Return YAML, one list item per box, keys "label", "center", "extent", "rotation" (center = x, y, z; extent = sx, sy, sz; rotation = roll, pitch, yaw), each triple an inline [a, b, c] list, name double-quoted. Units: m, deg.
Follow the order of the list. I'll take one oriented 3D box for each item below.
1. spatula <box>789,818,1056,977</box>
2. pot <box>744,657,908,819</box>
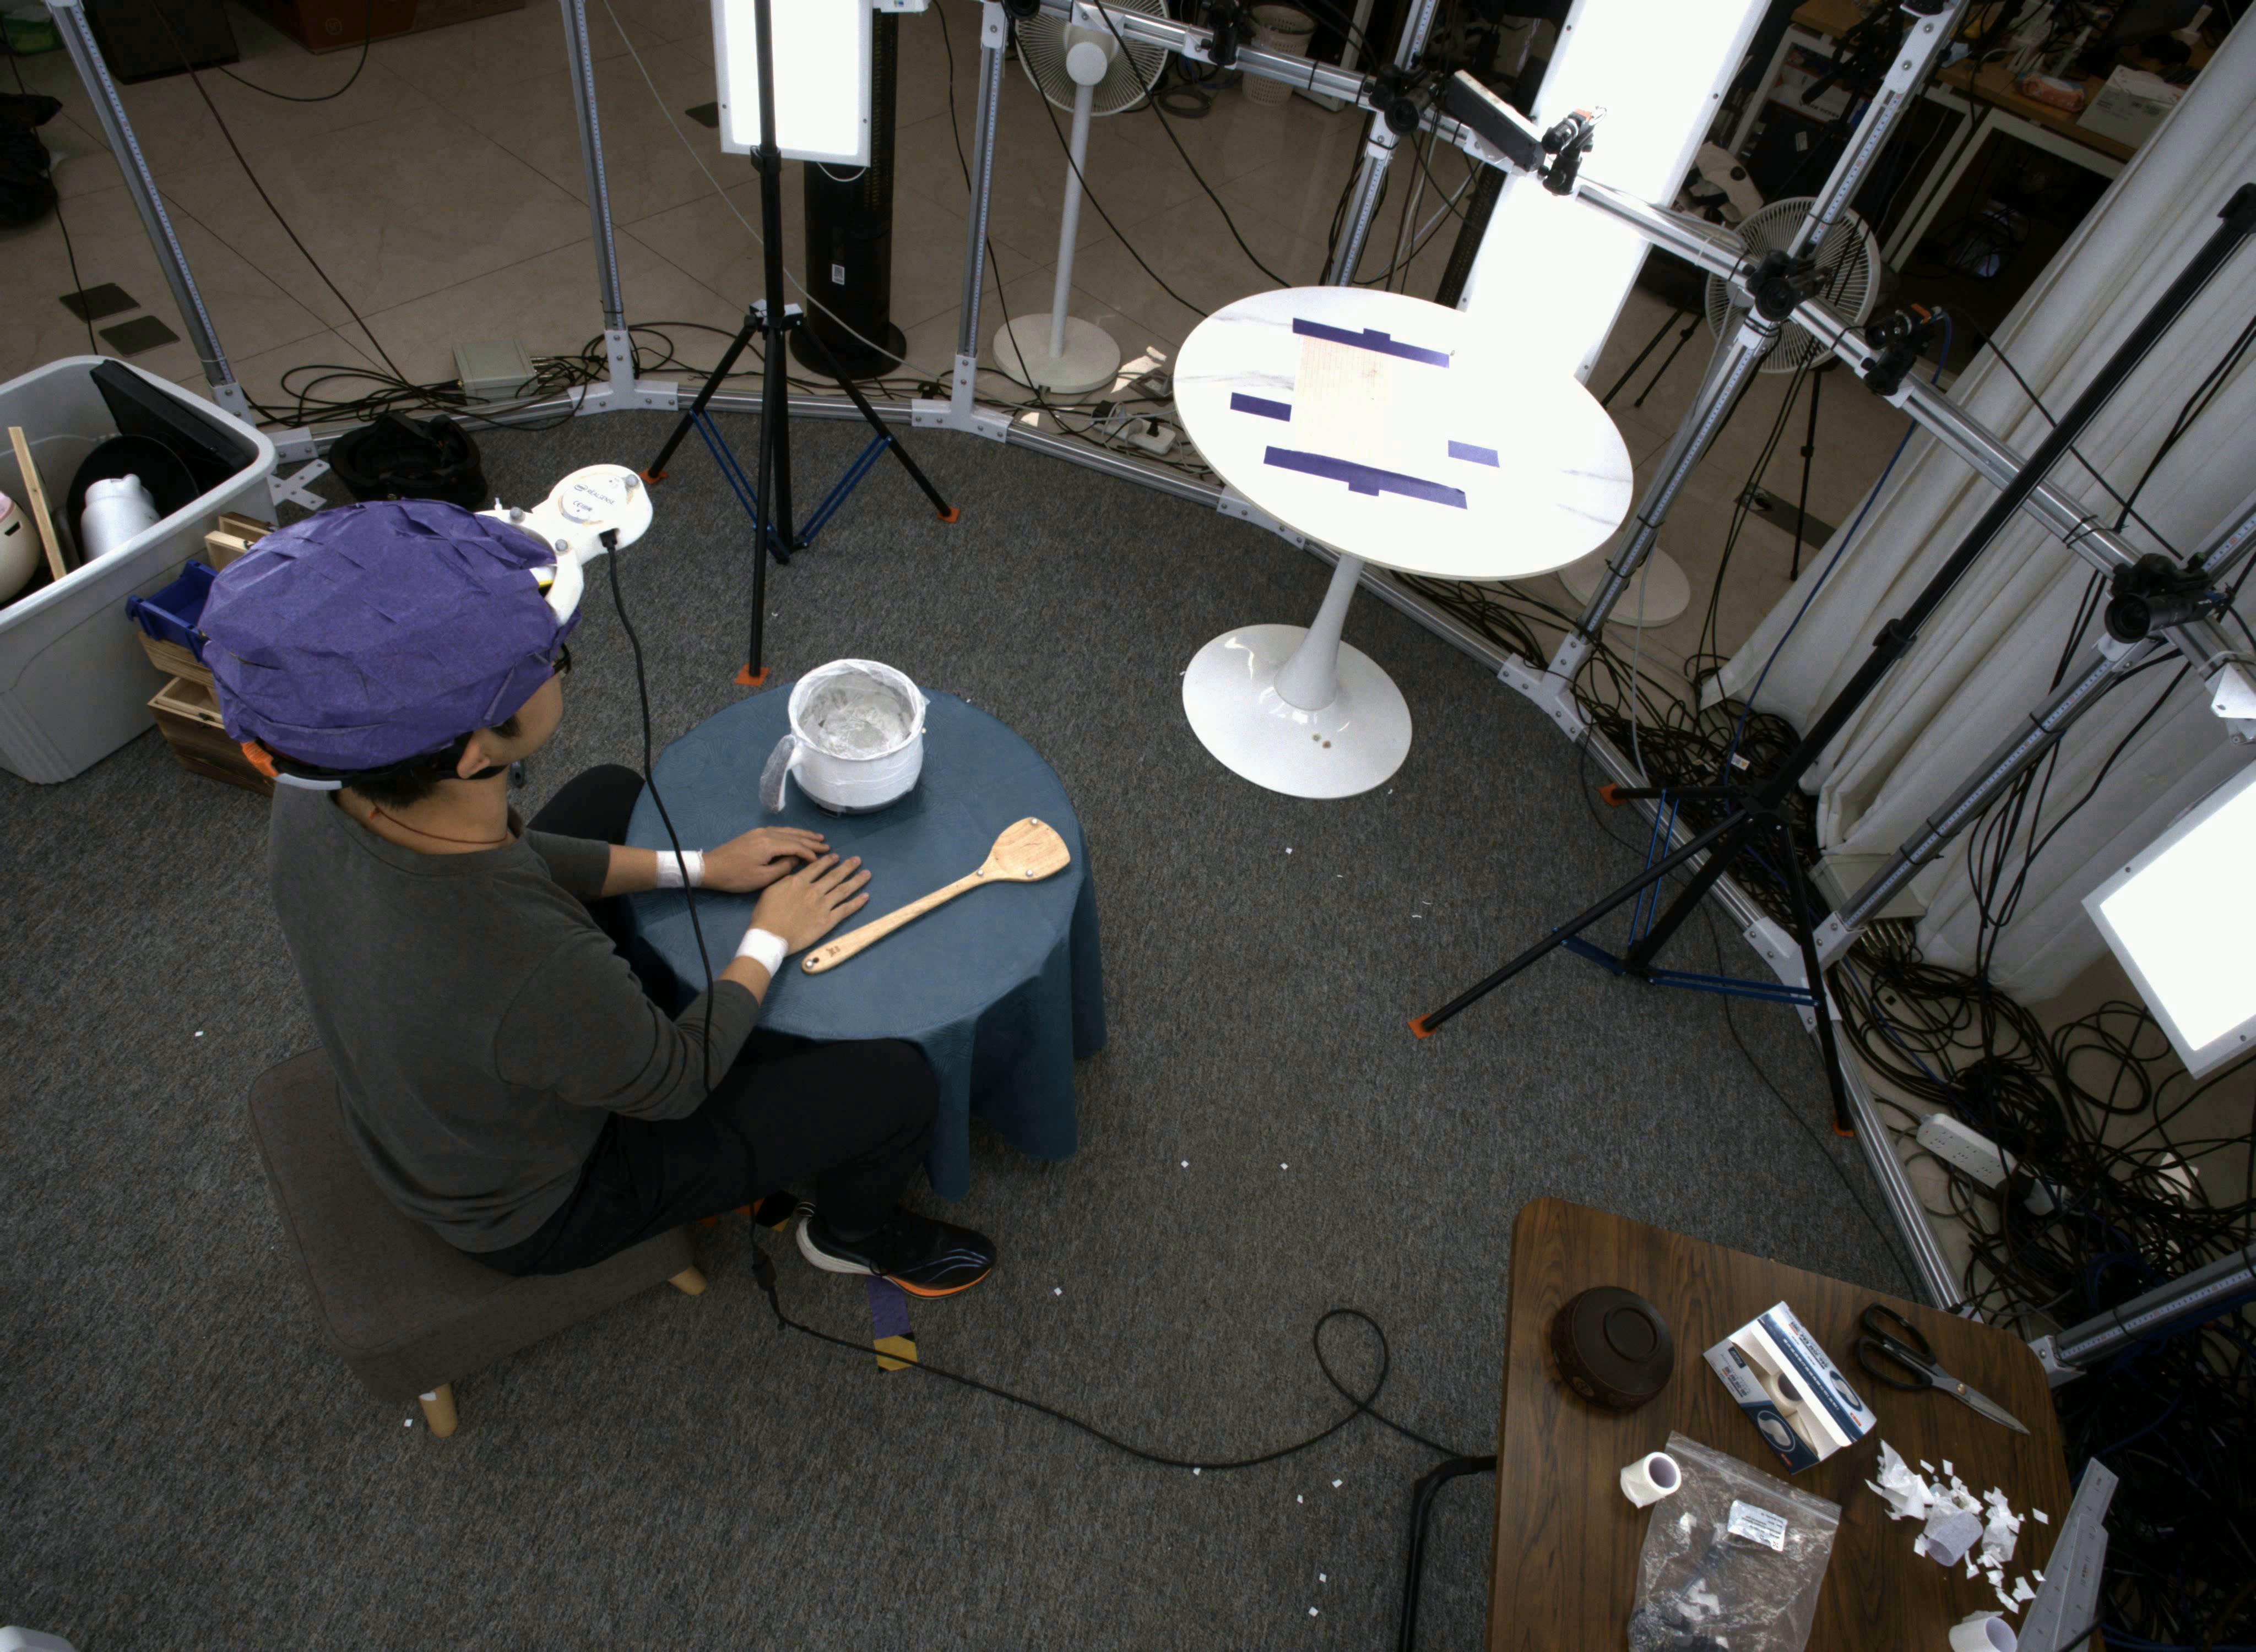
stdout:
- label: "spatula"
  center: [-0.264, 0.097, 1.693]
  extent: [0.392, 0.019, 0.093]
  rotation: [-29, 64, -30]
- label: "pot"
  center: [-0.405, -0.103, 1.728]
  extent: [0.234, 0.139, 0.174]
  rotation: [-33, 66, -32]
